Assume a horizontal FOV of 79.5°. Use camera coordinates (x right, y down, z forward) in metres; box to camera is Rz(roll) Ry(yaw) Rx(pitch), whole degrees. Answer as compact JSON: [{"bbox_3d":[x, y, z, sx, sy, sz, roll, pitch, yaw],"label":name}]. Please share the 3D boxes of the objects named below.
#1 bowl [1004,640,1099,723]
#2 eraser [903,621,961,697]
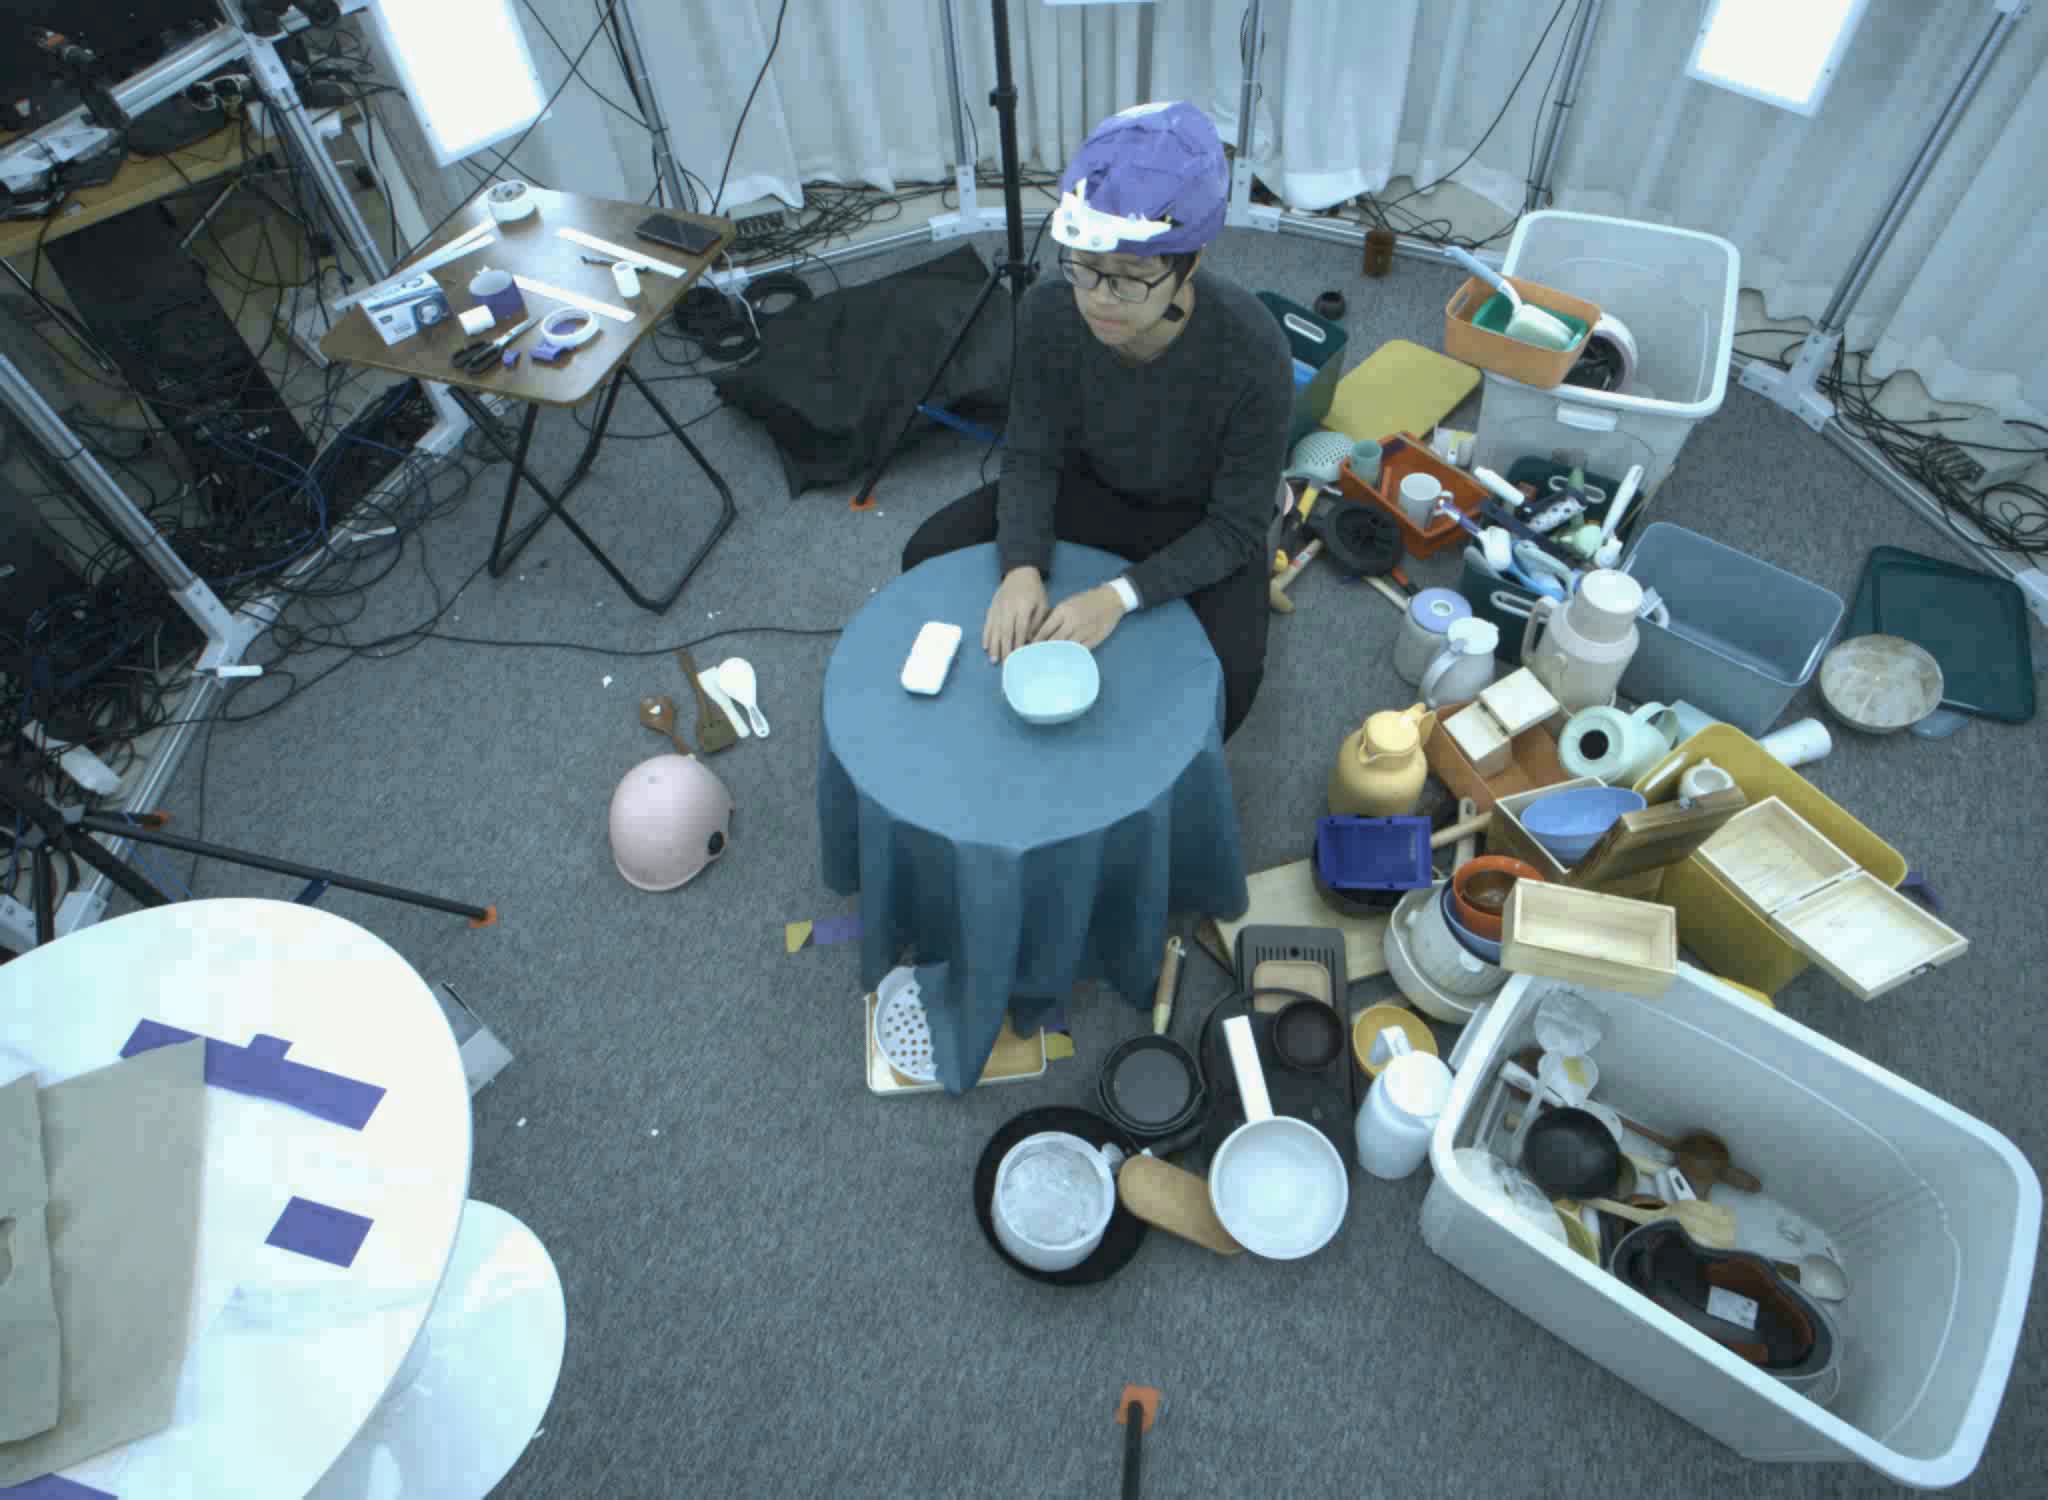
[{"bbox_3d":[0.041,-0.091,1.817,0.151,0.059,0.150,0,56,2],"label":"bowl"},{"bbox_3d":[-0.139,-0.141,1.873,0.063,0.035,0.131,13,58,9],"label":"eraser"}]
